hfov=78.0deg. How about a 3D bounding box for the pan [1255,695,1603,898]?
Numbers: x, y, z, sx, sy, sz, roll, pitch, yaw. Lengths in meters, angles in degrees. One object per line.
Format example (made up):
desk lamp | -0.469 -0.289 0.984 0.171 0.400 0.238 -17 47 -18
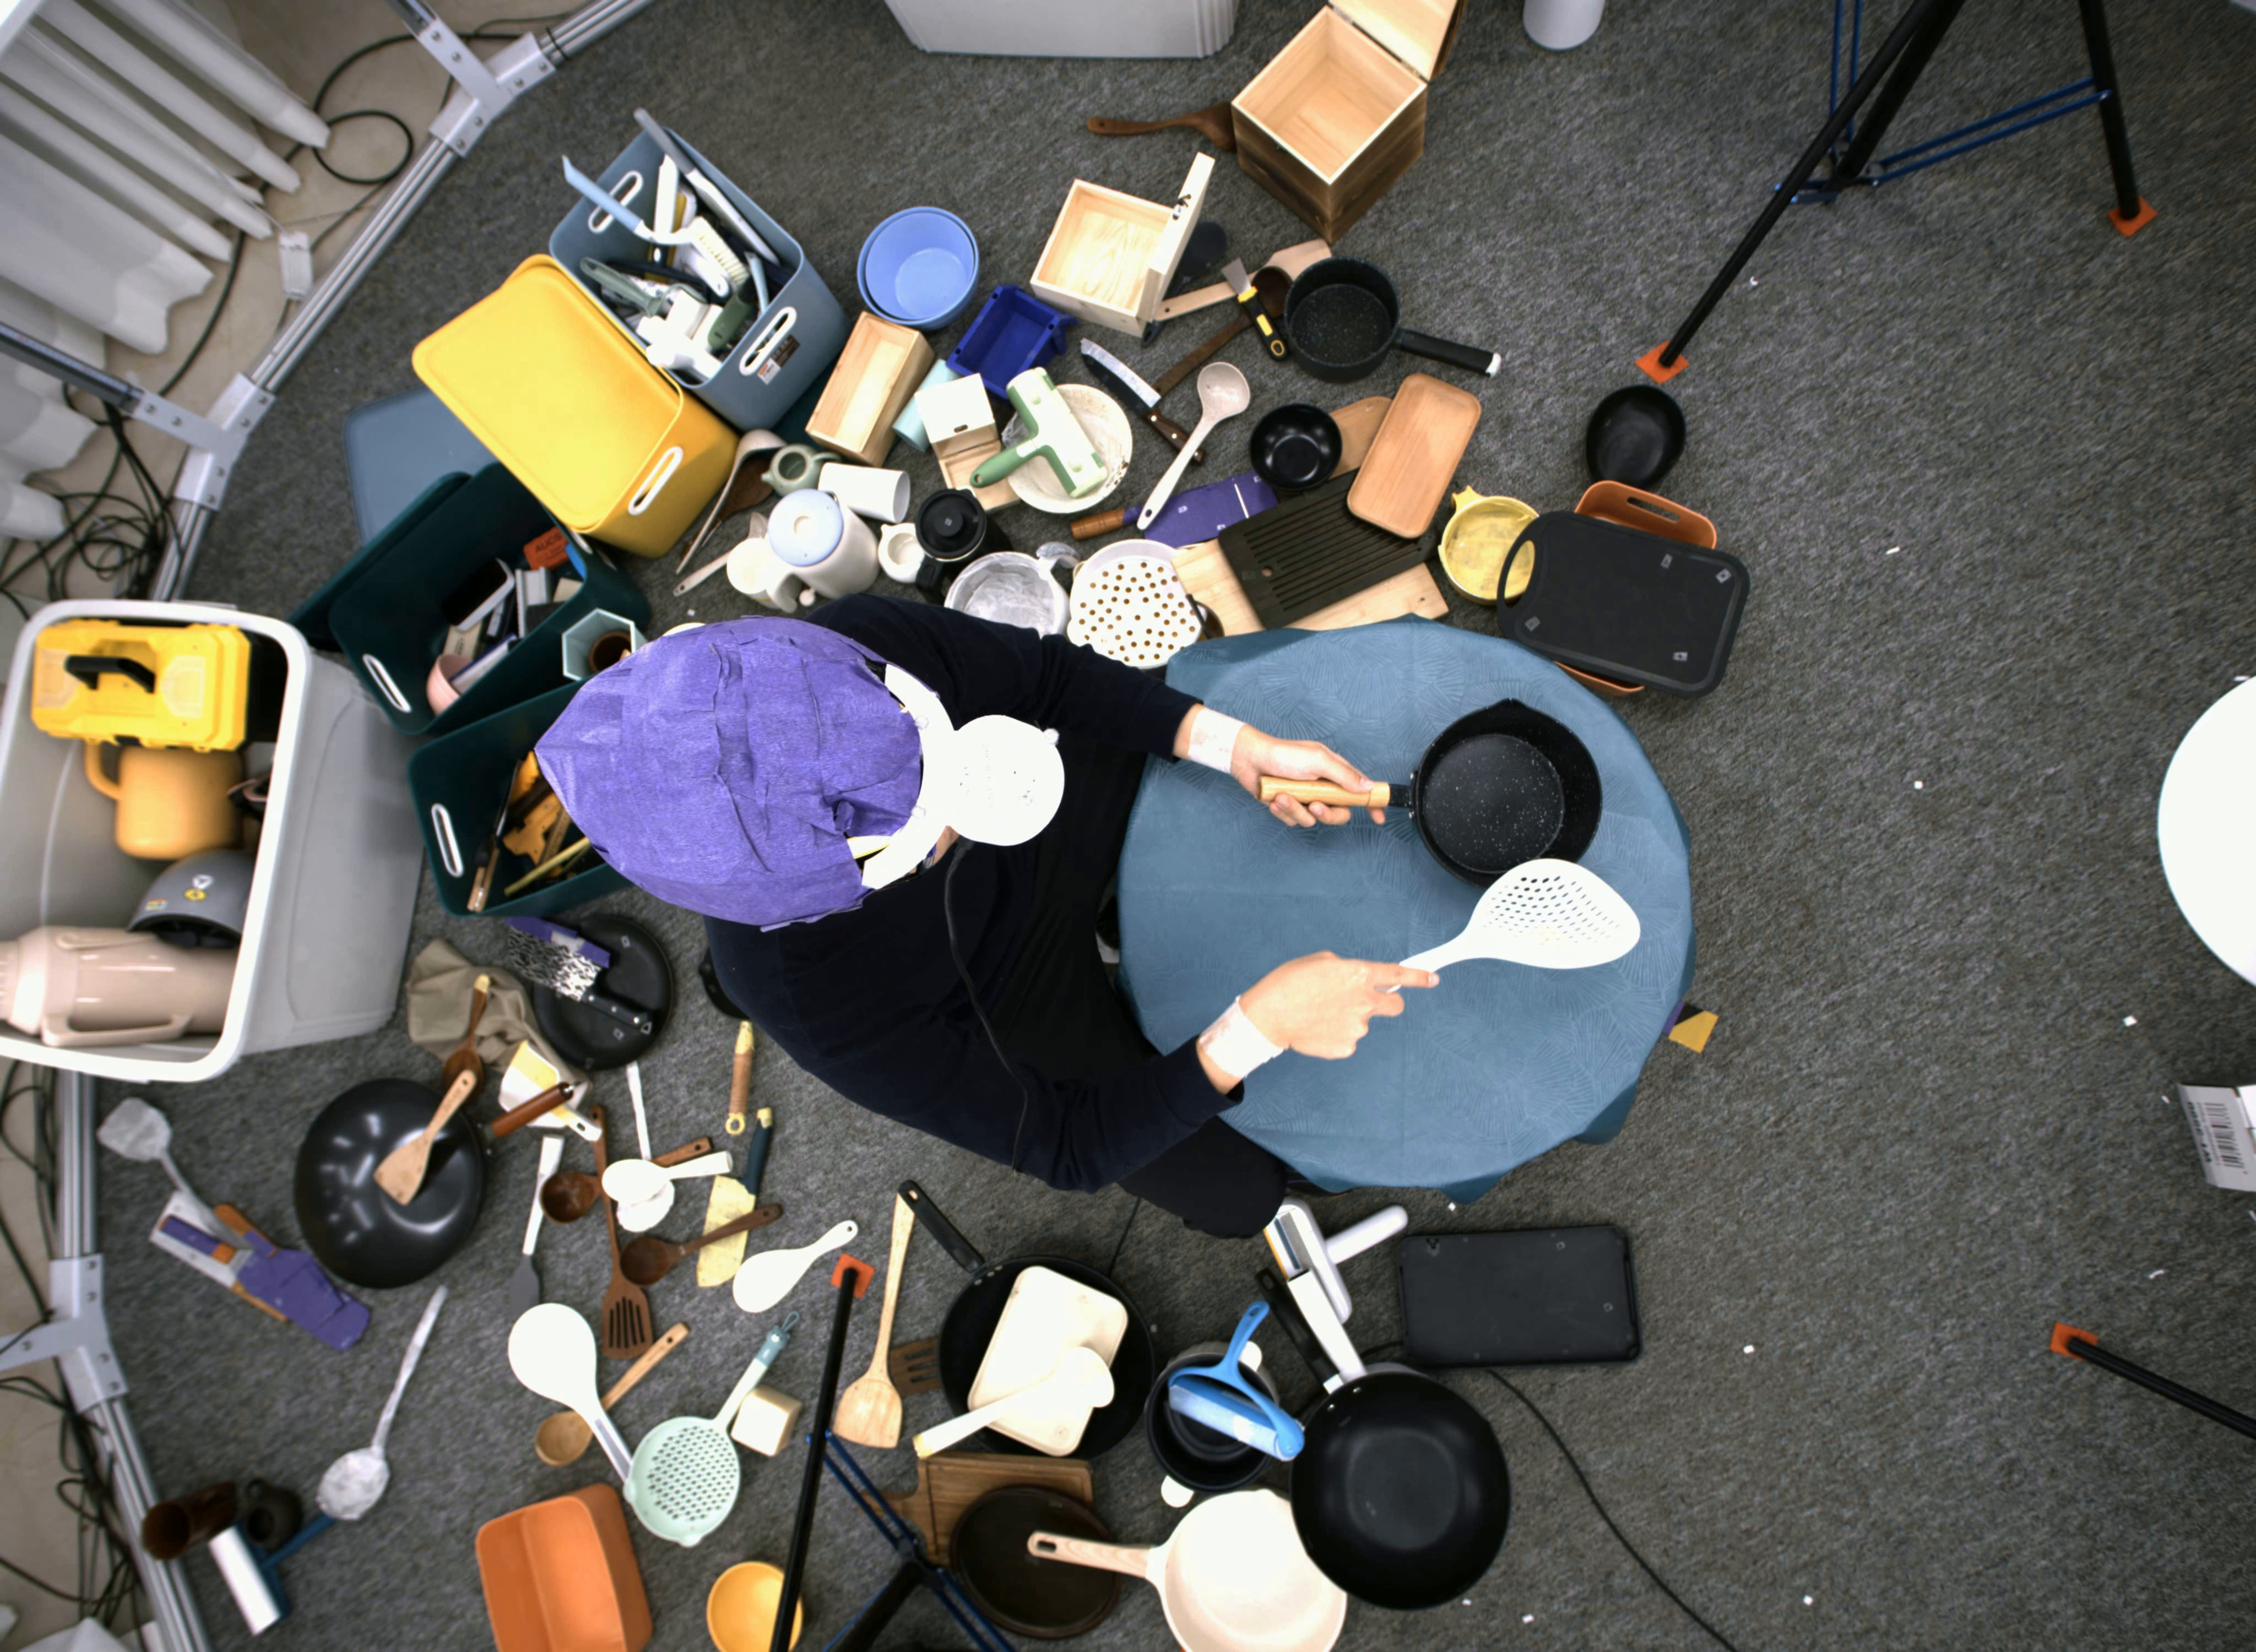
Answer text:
pan | 0.299 -0.029 1.393 0.343 0.108 0.207 1 90 4

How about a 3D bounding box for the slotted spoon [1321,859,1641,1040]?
slotted spoon | 0.318 0.118 1.264 0.344 0.051 0.134 -15 48 -26
